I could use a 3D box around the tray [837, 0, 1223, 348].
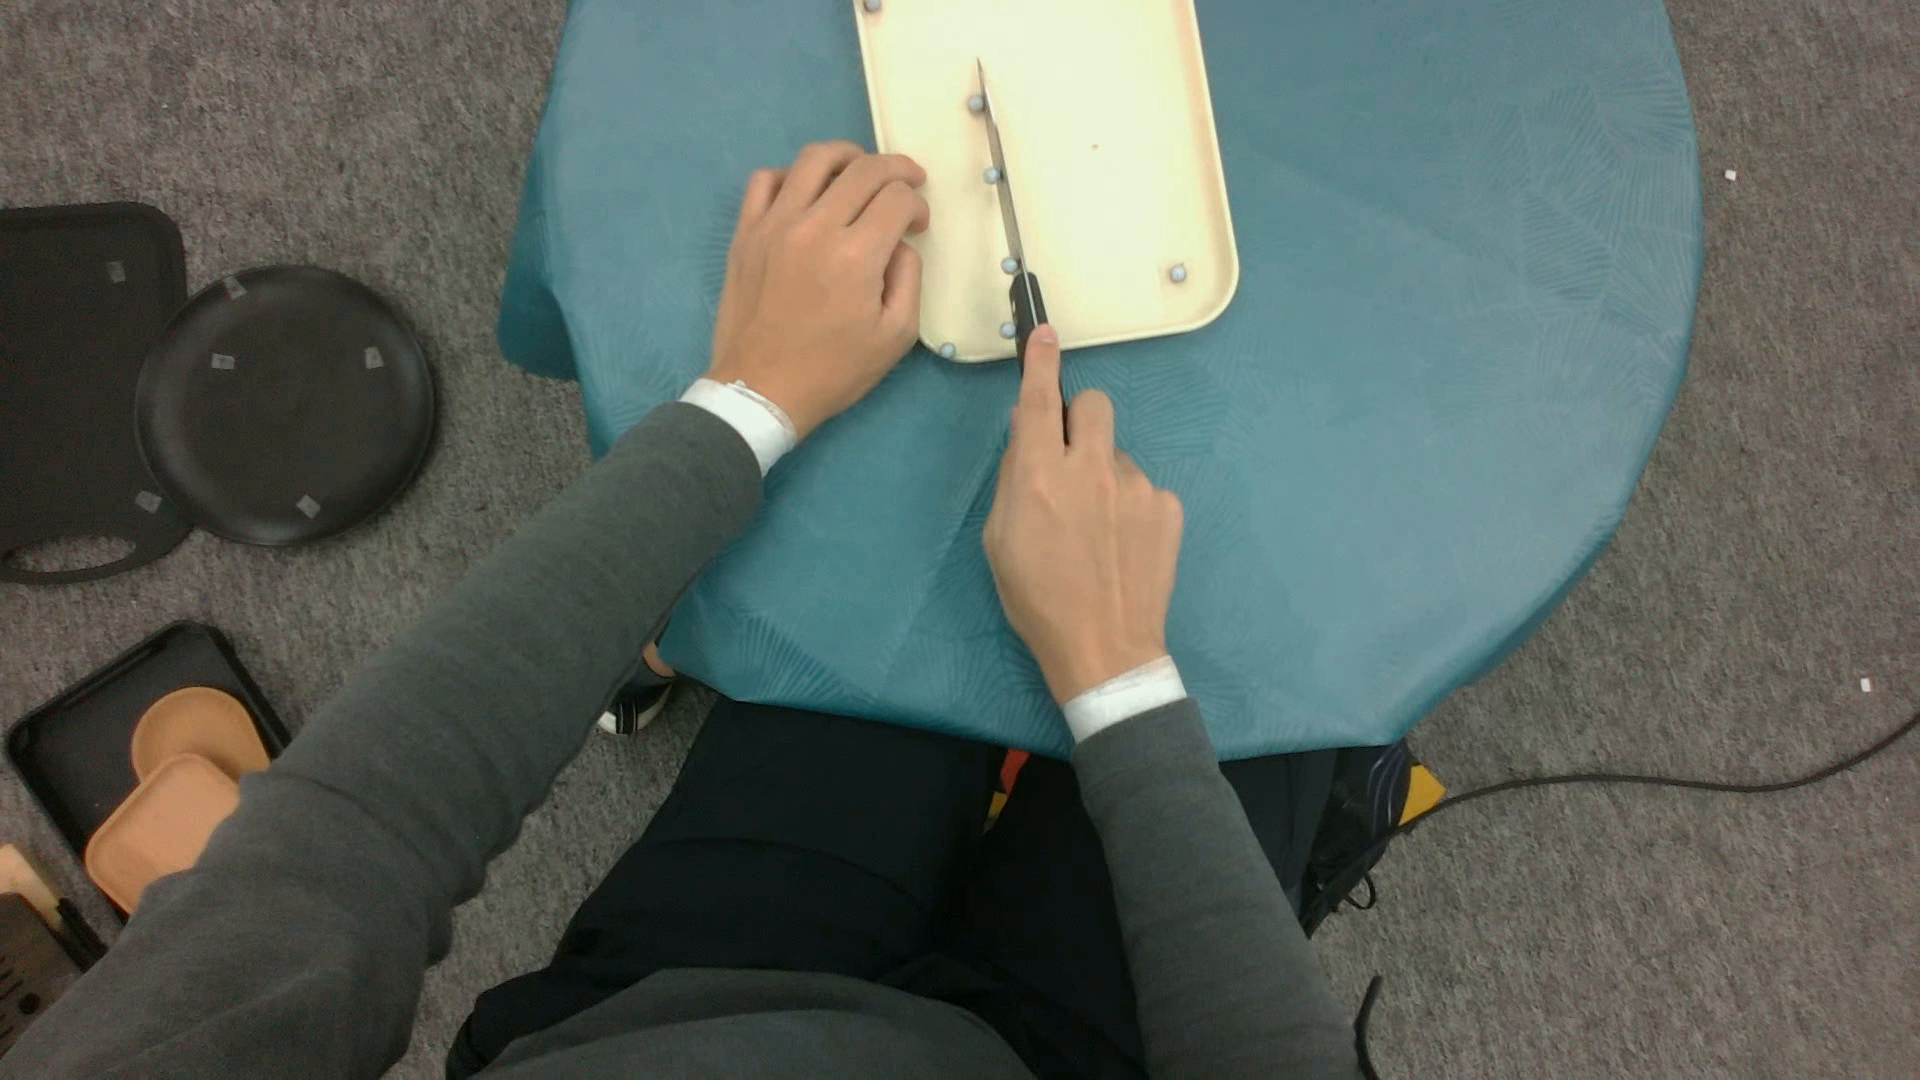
[{"bbox_3d":[0.032,-0.219,0.692,0.171,0.017,0.240,-9,86,-7],"label":"tray"}]

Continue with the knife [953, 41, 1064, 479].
[{"bbox_3d":[0.019,-0.142,0.660,0.016,0.024,0.238,-3,71,-23],"label":"knife"}]
